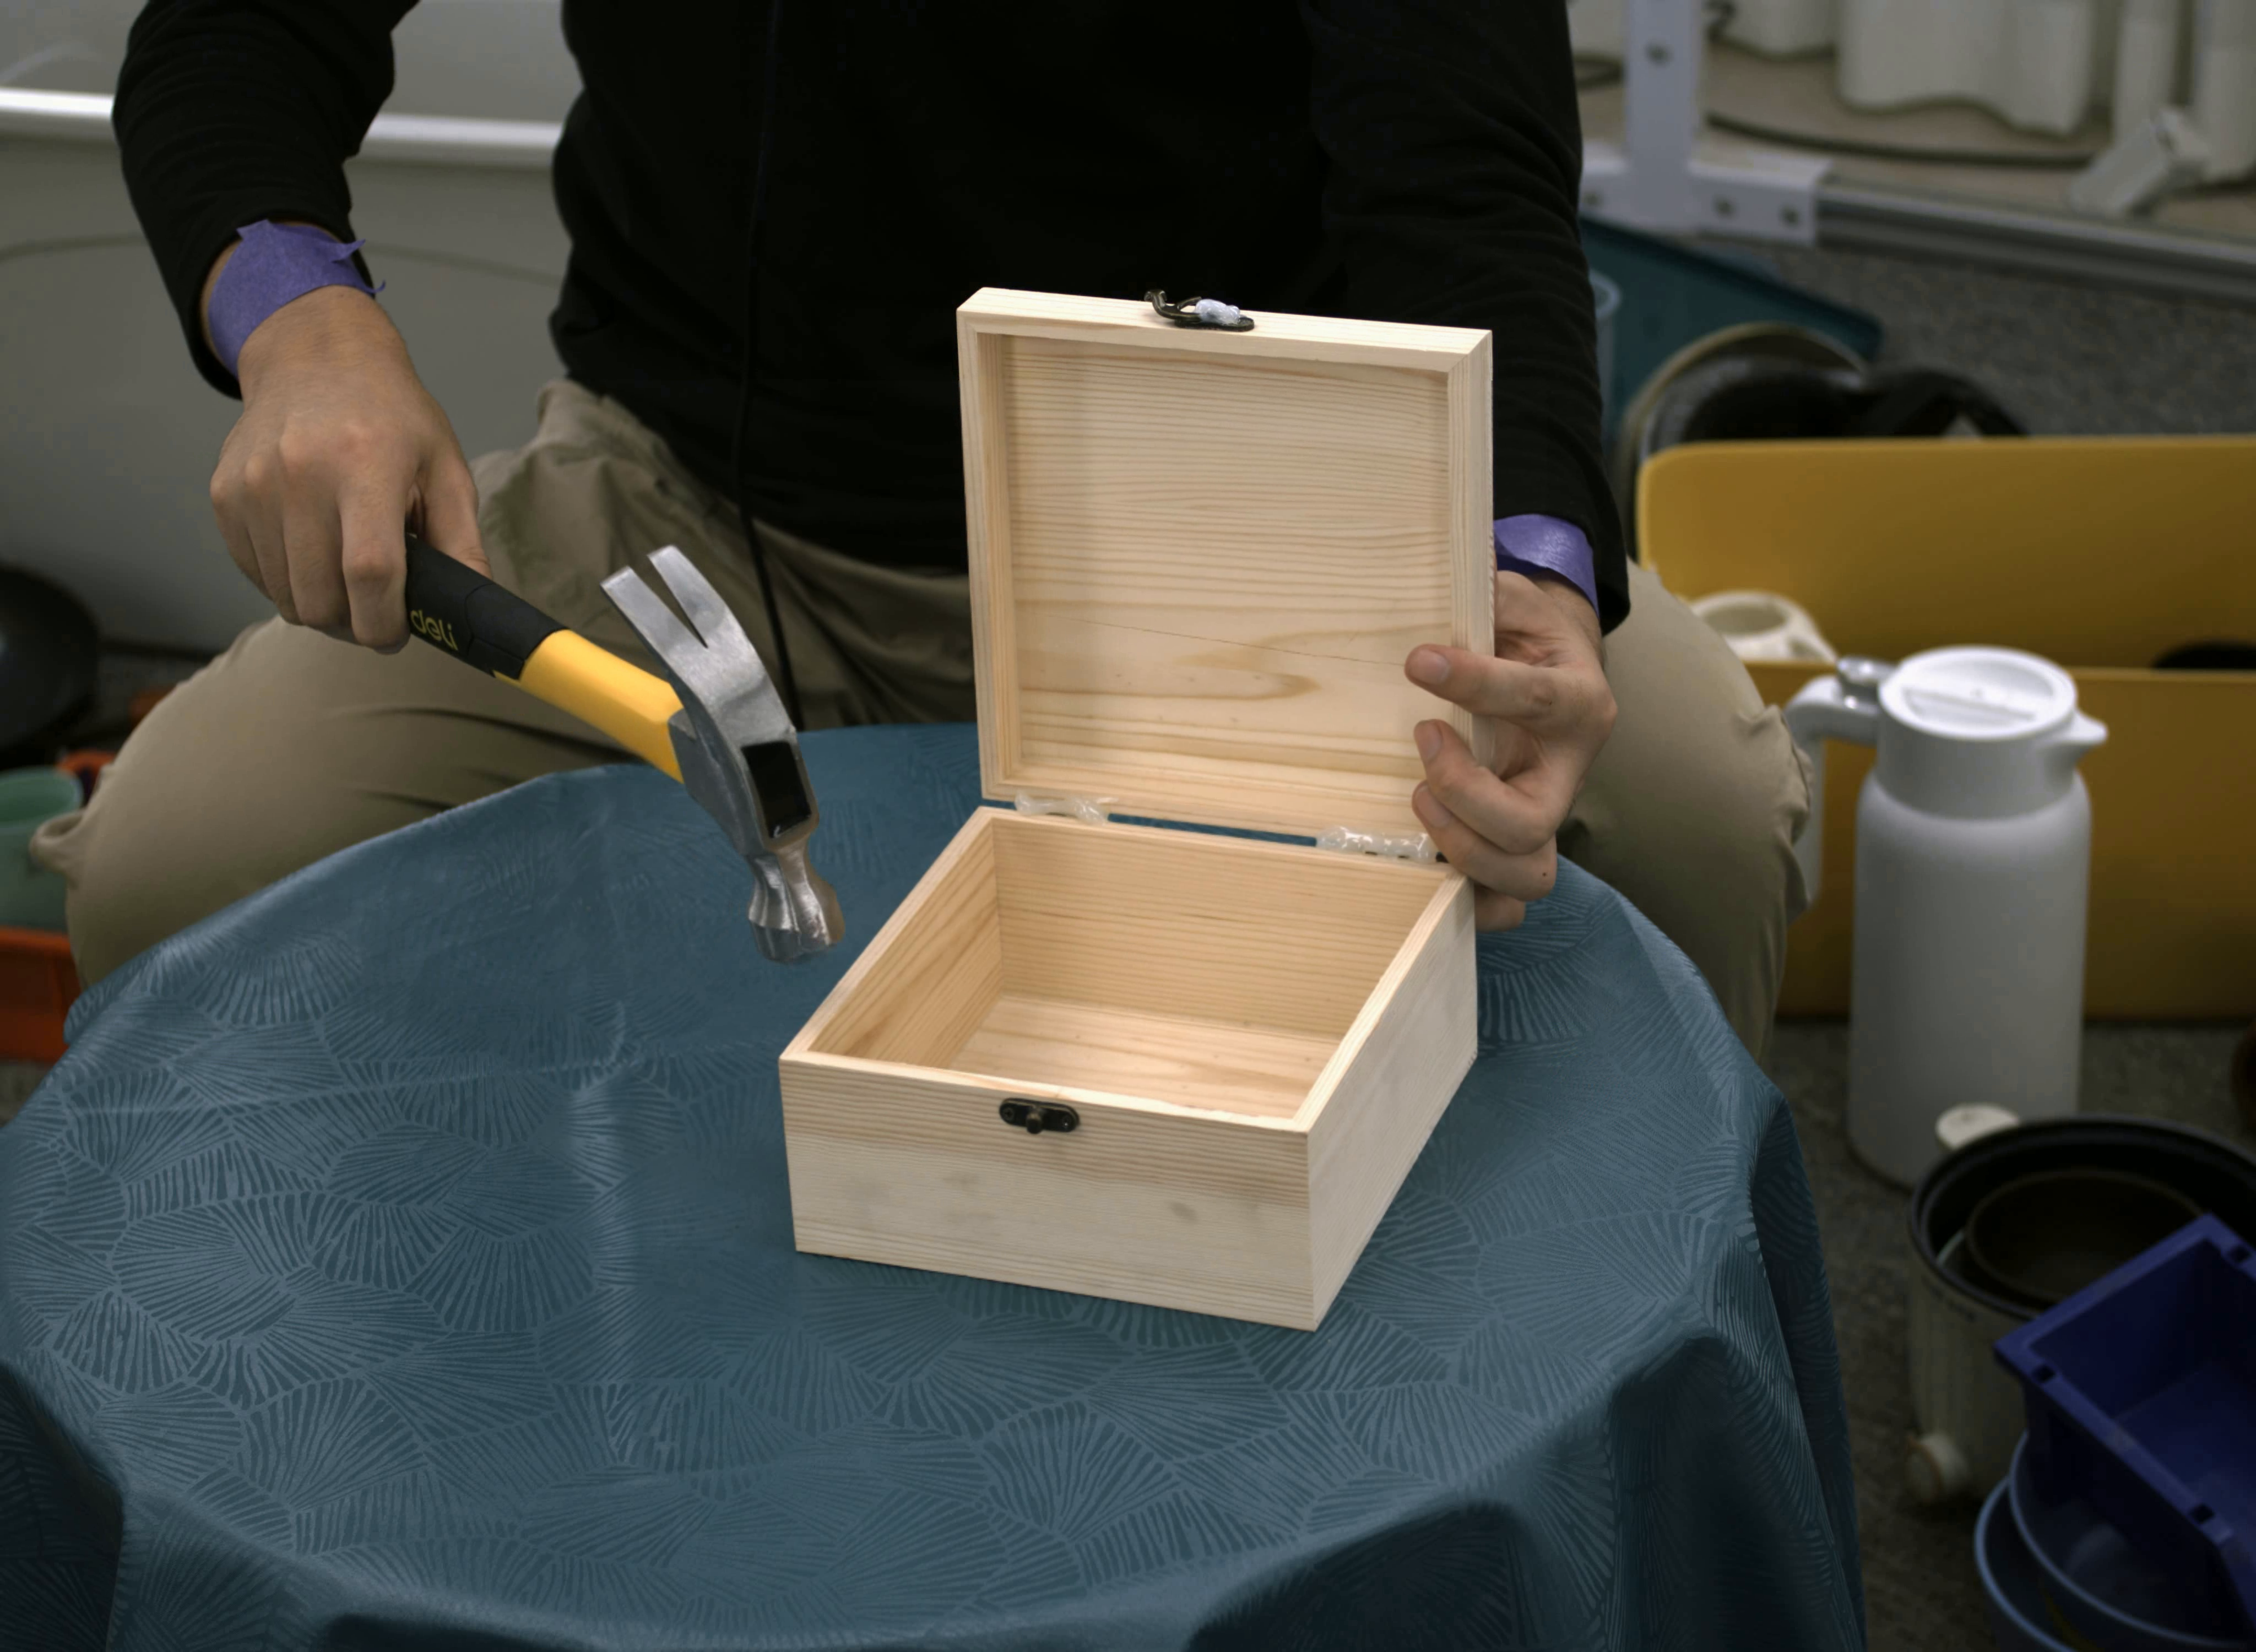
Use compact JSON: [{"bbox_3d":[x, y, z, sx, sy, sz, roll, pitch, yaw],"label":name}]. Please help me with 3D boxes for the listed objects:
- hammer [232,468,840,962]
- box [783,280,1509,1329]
[{"bbox_3d":[-0.211,-0.063,1.913,0.032,0.130,0.338,-29,33,-27],"label":"hammer"},{"bbox_3d":[0.010,-0.016,1.855,0.180,0.251,0.270,4,28,19],"label":"box"}]
